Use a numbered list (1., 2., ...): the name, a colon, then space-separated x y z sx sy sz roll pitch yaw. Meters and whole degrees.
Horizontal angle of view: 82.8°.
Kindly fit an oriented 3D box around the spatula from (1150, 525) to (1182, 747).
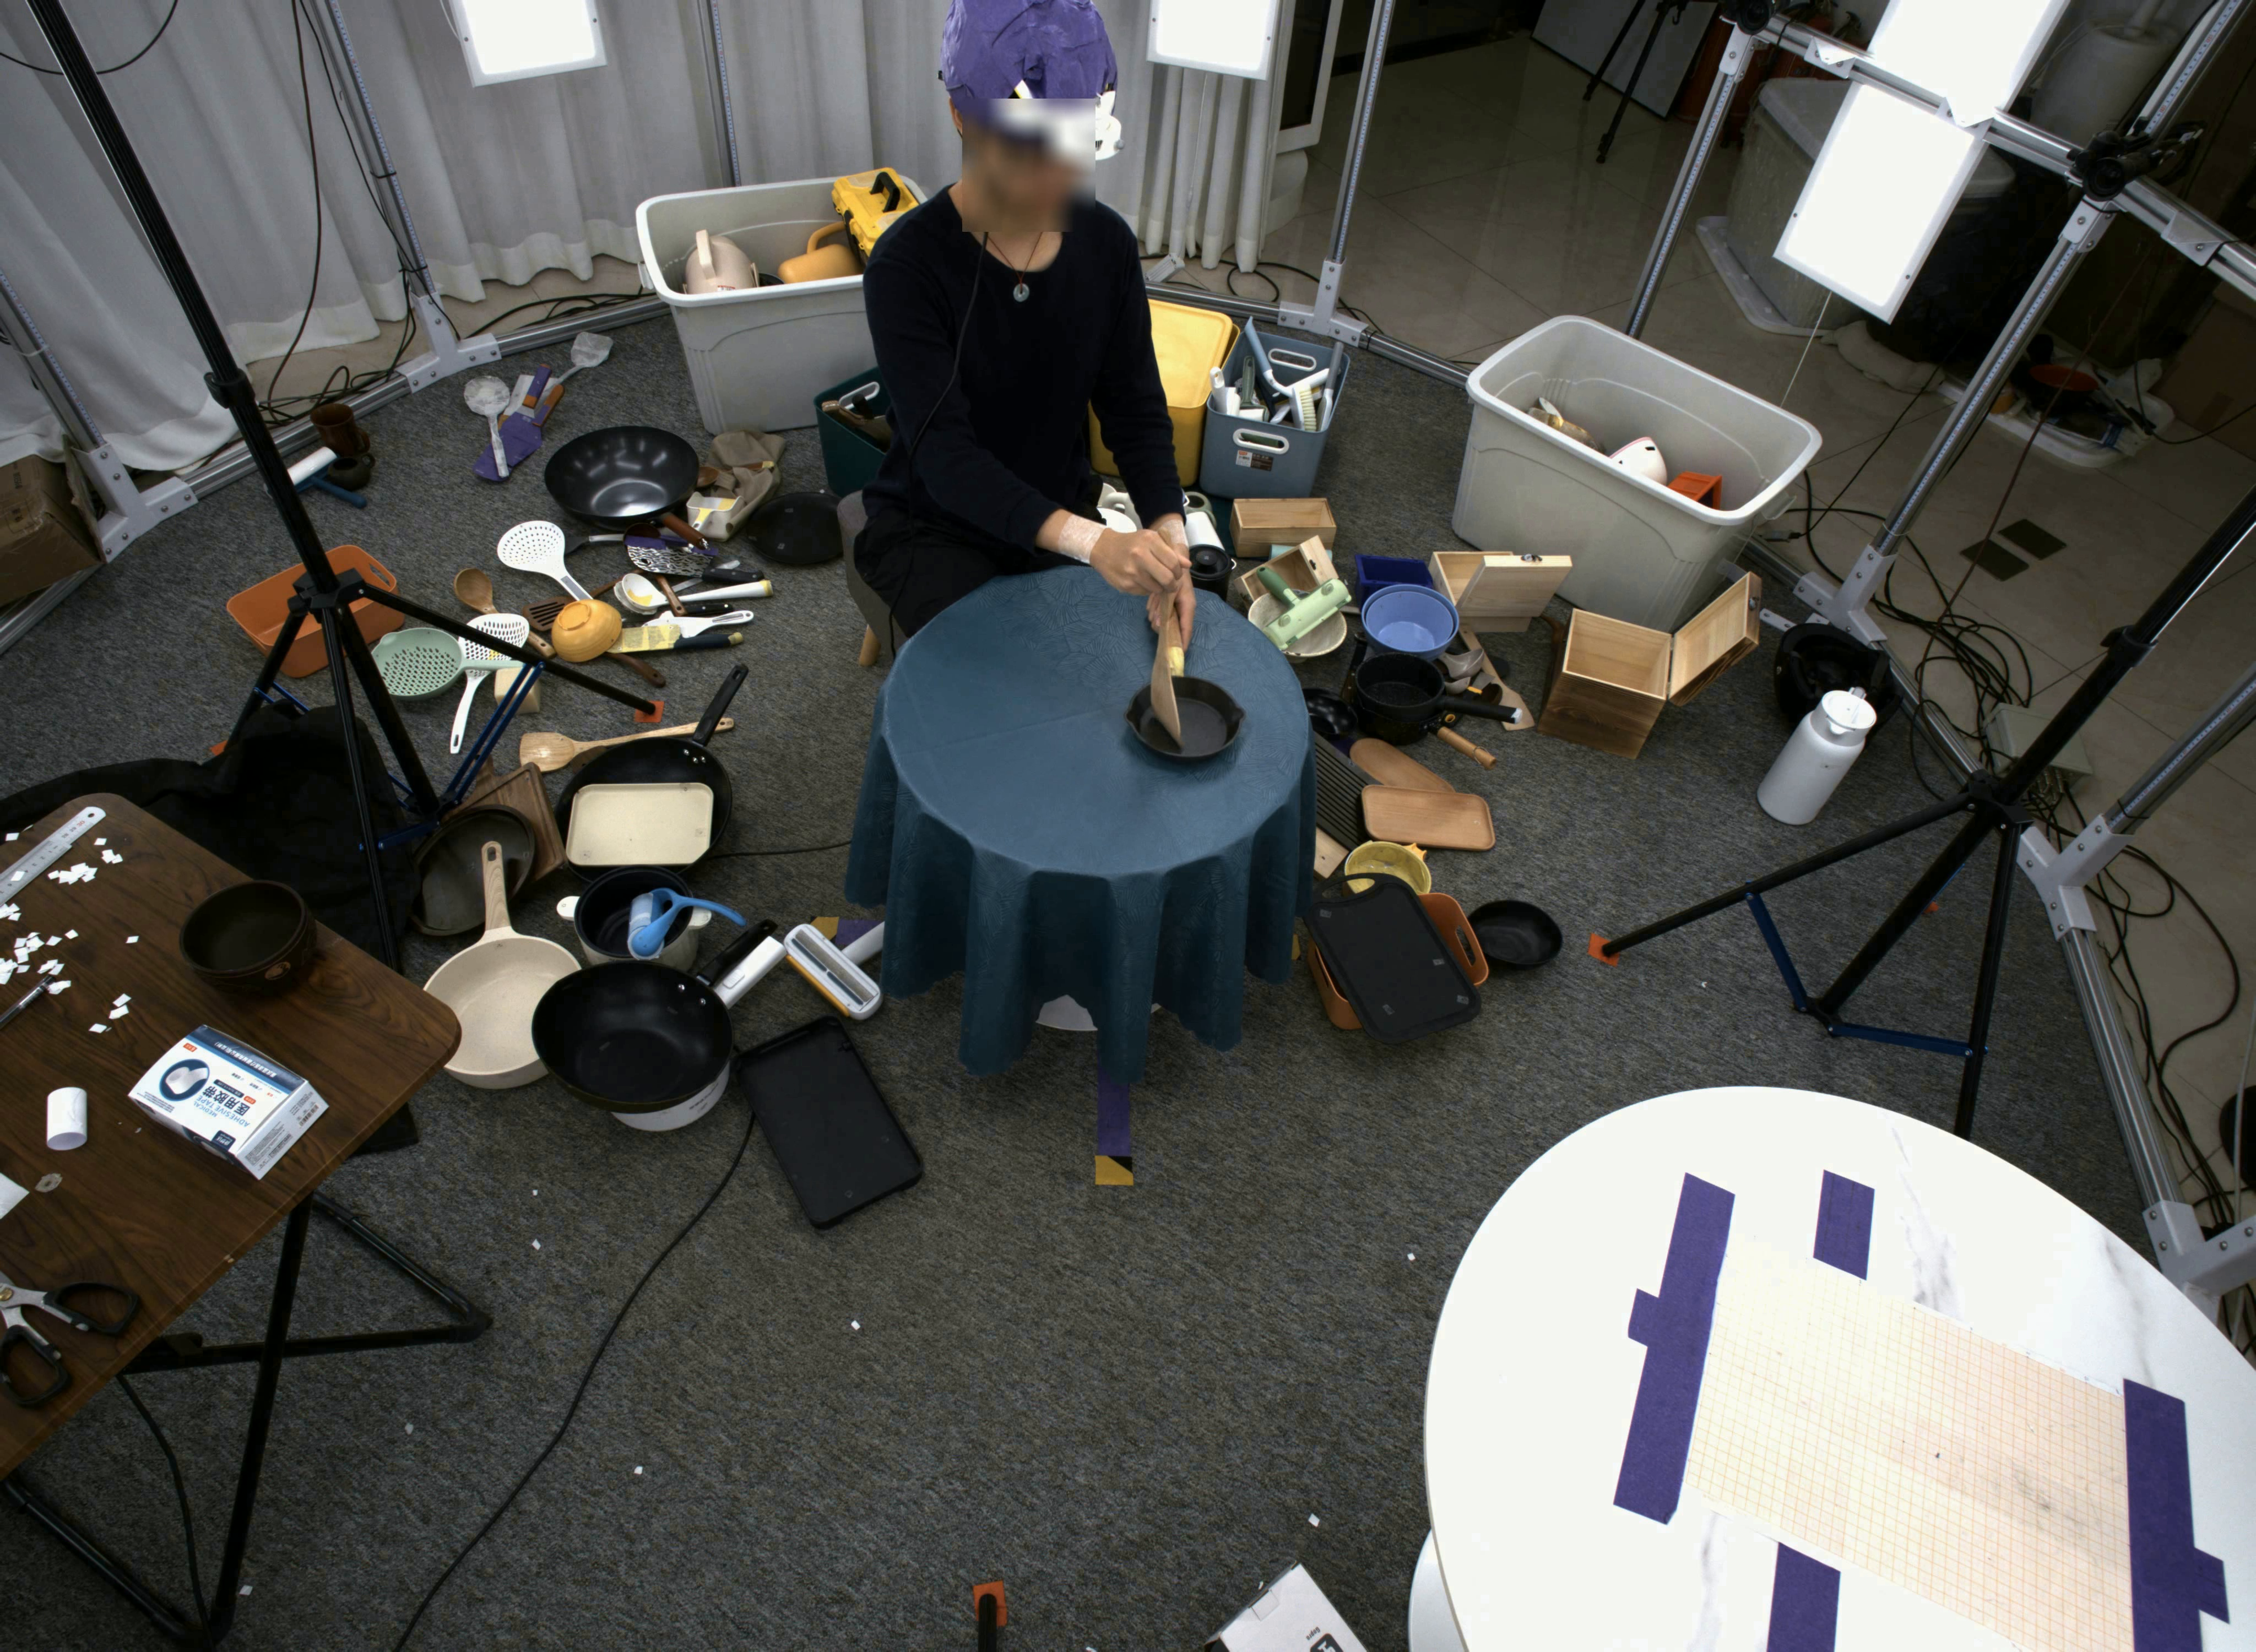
1. spatula: 0.049 -0.246 1.680 0.016 0.319 0.081 -20 44 -21

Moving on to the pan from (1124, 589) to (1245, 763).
1. pan: 0.072 -0.215 1.827 0.169 0.048 0.332 -1 50 -4
